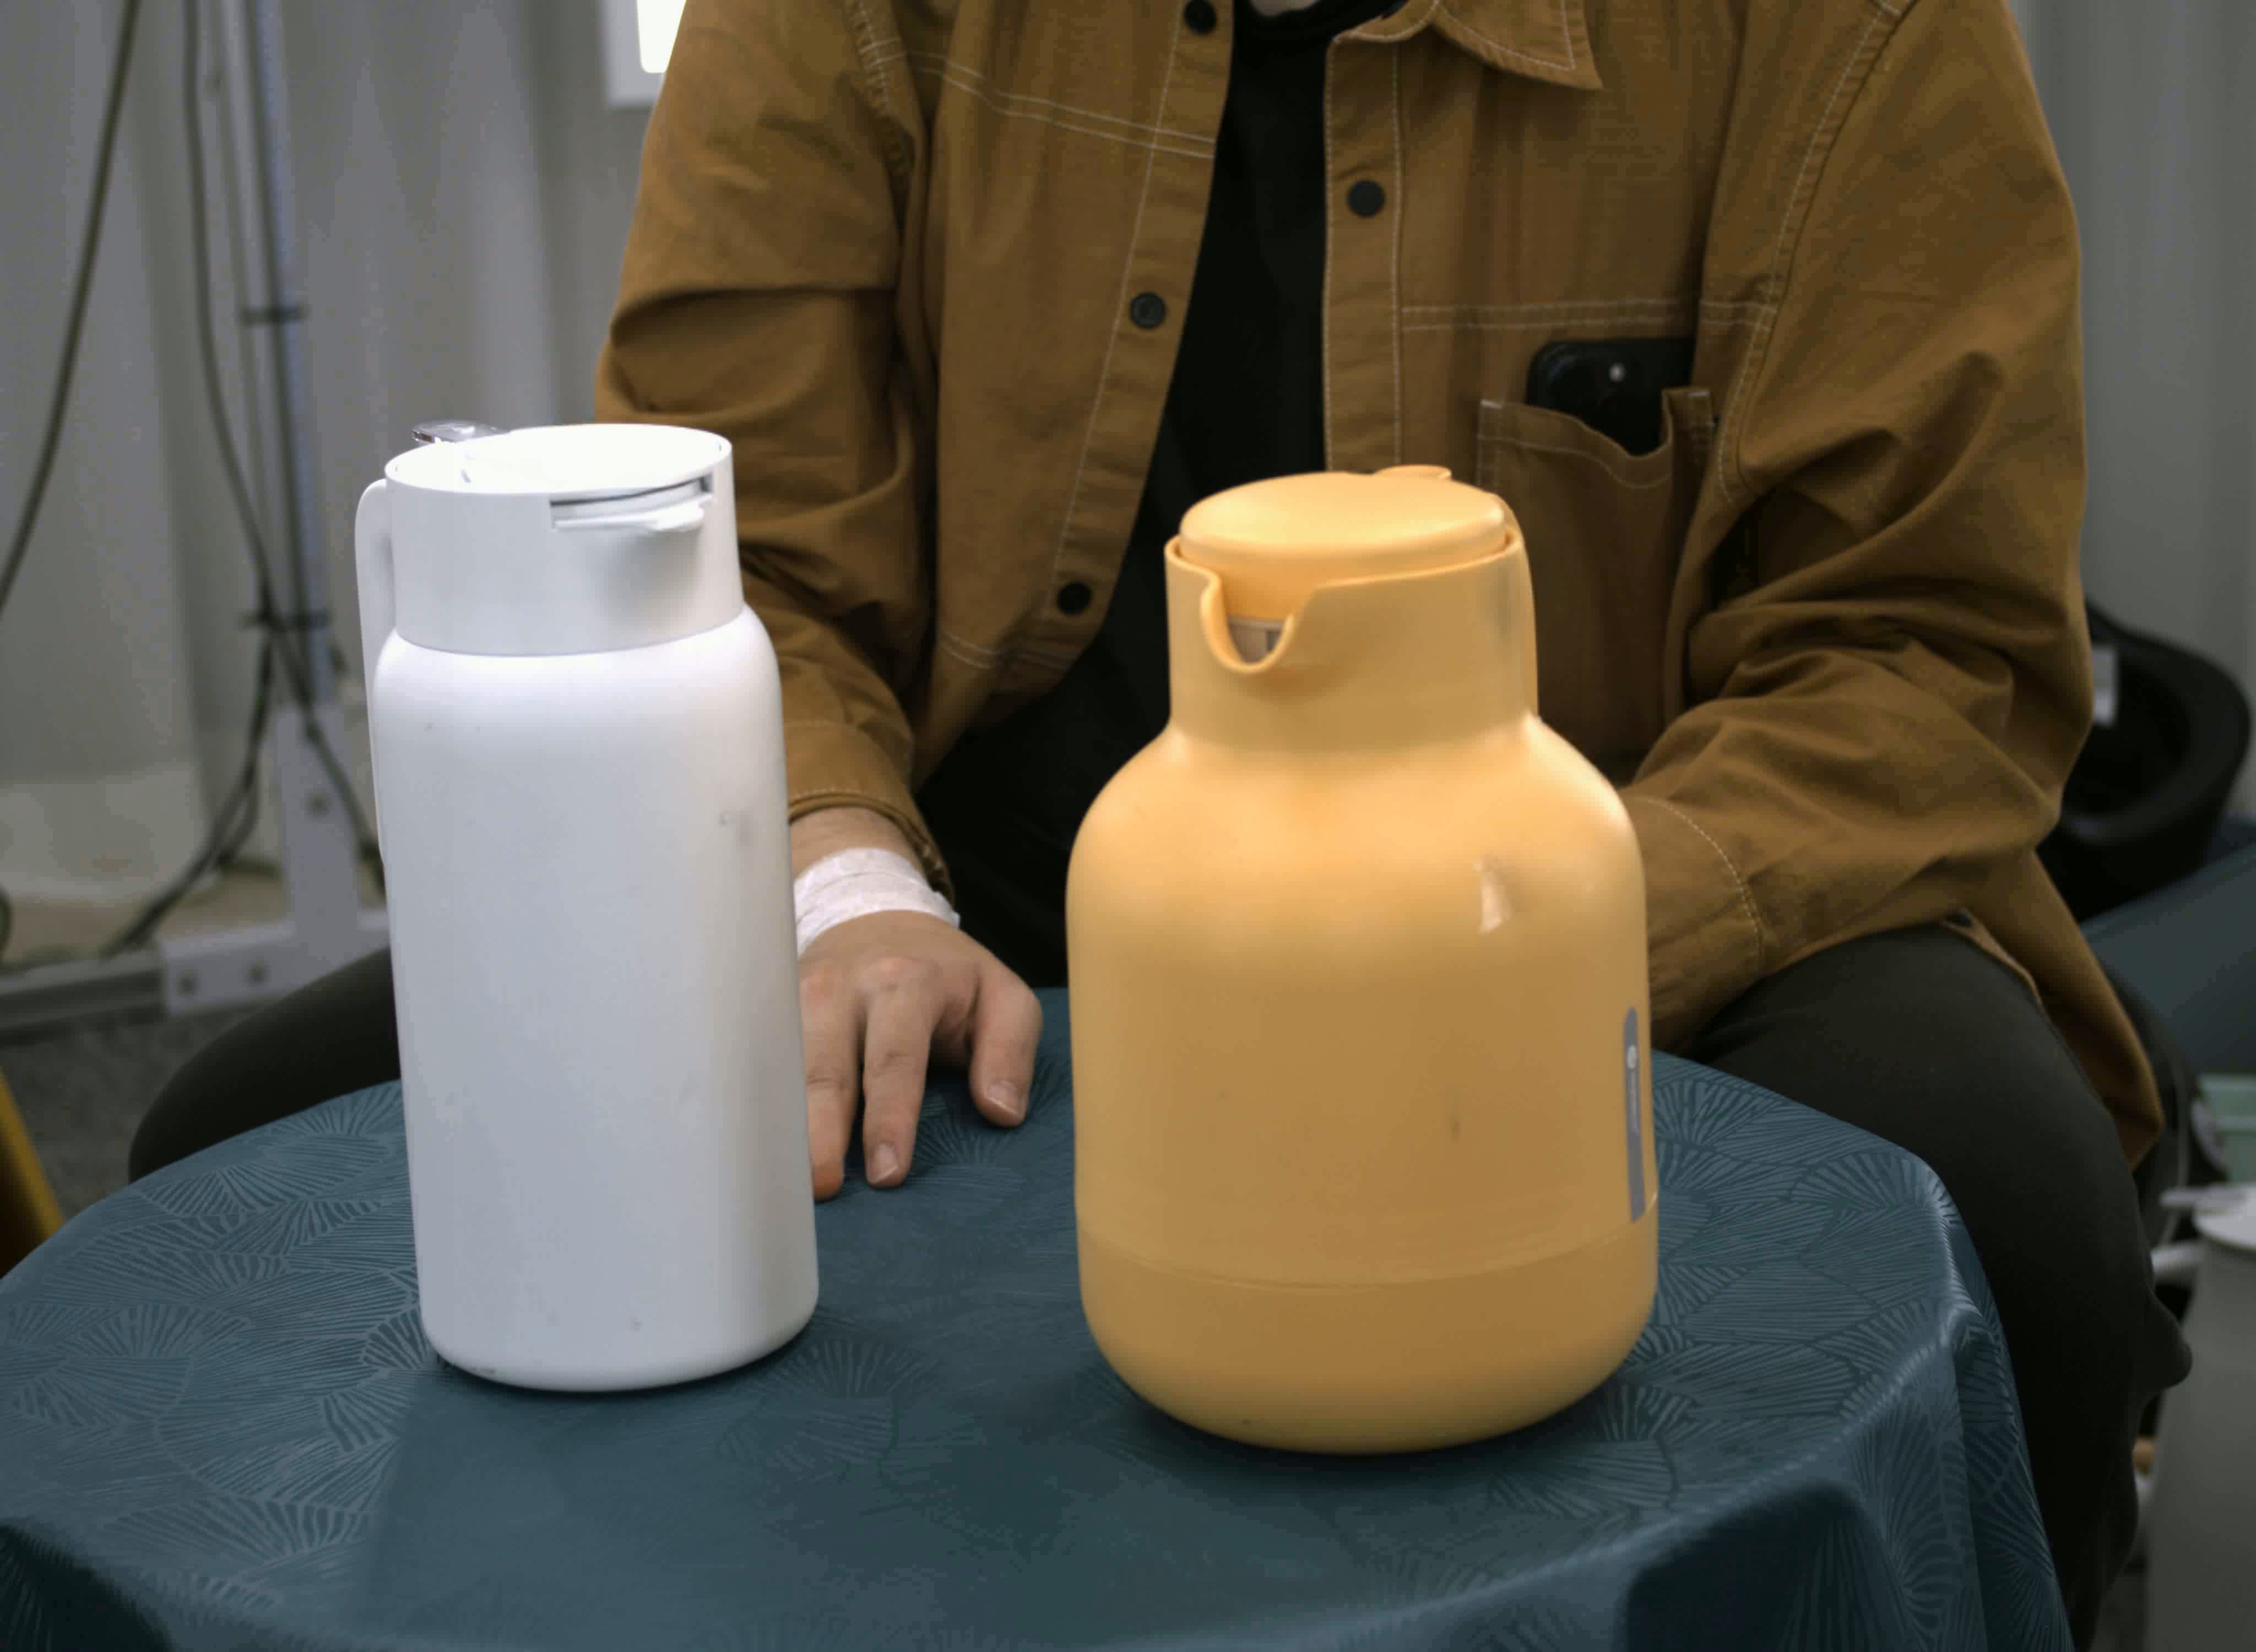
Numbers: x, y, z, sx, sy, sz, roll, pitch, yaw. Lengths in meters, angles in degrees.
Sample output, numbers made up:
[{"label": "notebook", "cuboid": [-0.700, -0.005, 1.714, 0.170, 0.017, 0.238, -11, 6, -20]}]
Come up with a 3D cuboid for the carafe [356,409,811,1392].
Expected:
[{"label": "carafe", "cuboid": [-0.167, 0.018, 1.592, 0.123, 0.268, 0.174, -14, 18, -34]}]

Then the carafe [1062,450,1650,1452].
[{"label": "carafe", "cuboid": [0.072, 0.026, 1.525, 0.164, 0.259, 0.203, 7, 18, 25]}]
